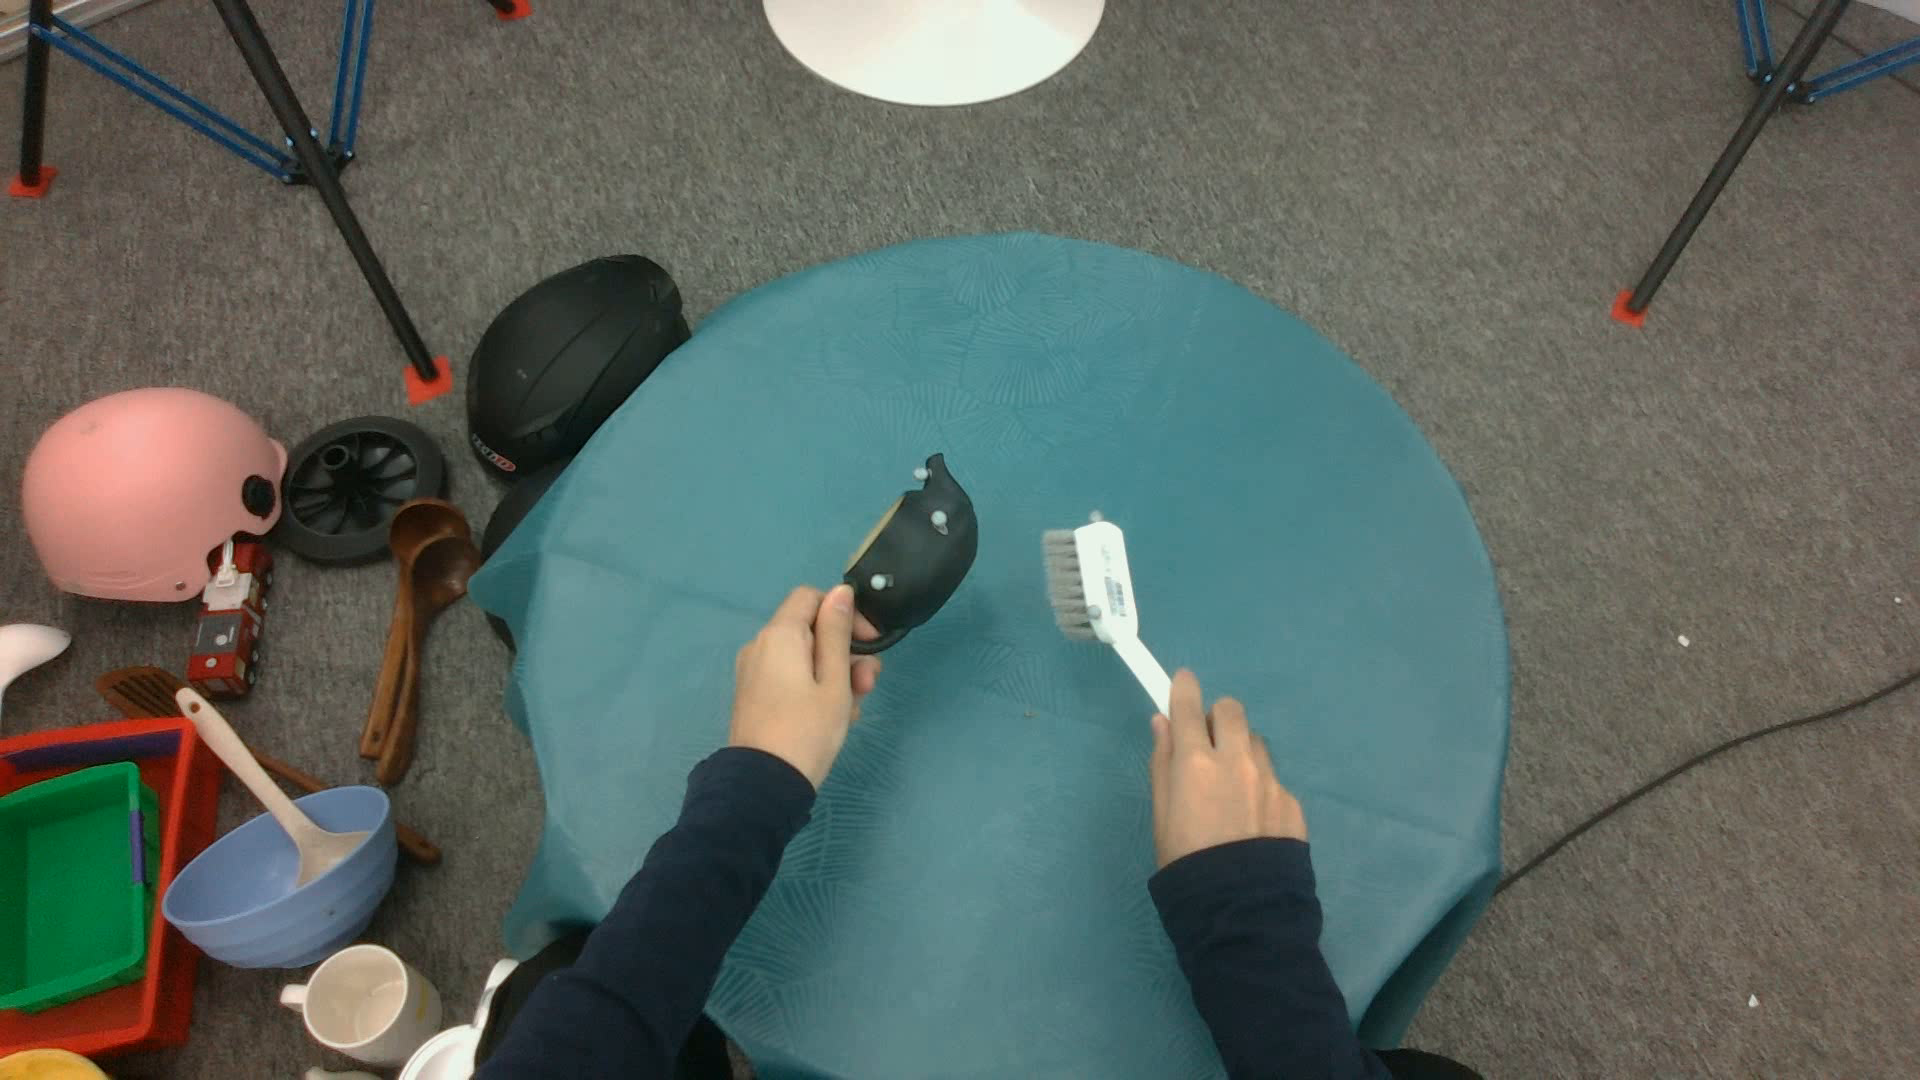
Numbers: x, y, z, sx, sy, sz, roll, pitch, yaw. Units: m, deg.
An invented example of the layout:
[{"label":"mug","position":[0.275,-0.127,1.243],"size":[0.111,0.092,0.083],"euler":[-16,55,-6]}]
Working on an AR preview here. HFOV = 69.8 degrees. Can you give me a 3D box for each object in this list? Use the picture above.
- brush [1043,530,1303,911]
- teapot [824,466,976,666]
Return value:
[{"label":"brush","position":[0.111,0.099,0.763],"size":[0.050,0.034,0.244],"euler":[-39,65,28]},{"label":"teapot","position":[-0.028,0.019,0.783],"size":[0.053,0.090,0.134],"euler":[36,61,-4]}]
